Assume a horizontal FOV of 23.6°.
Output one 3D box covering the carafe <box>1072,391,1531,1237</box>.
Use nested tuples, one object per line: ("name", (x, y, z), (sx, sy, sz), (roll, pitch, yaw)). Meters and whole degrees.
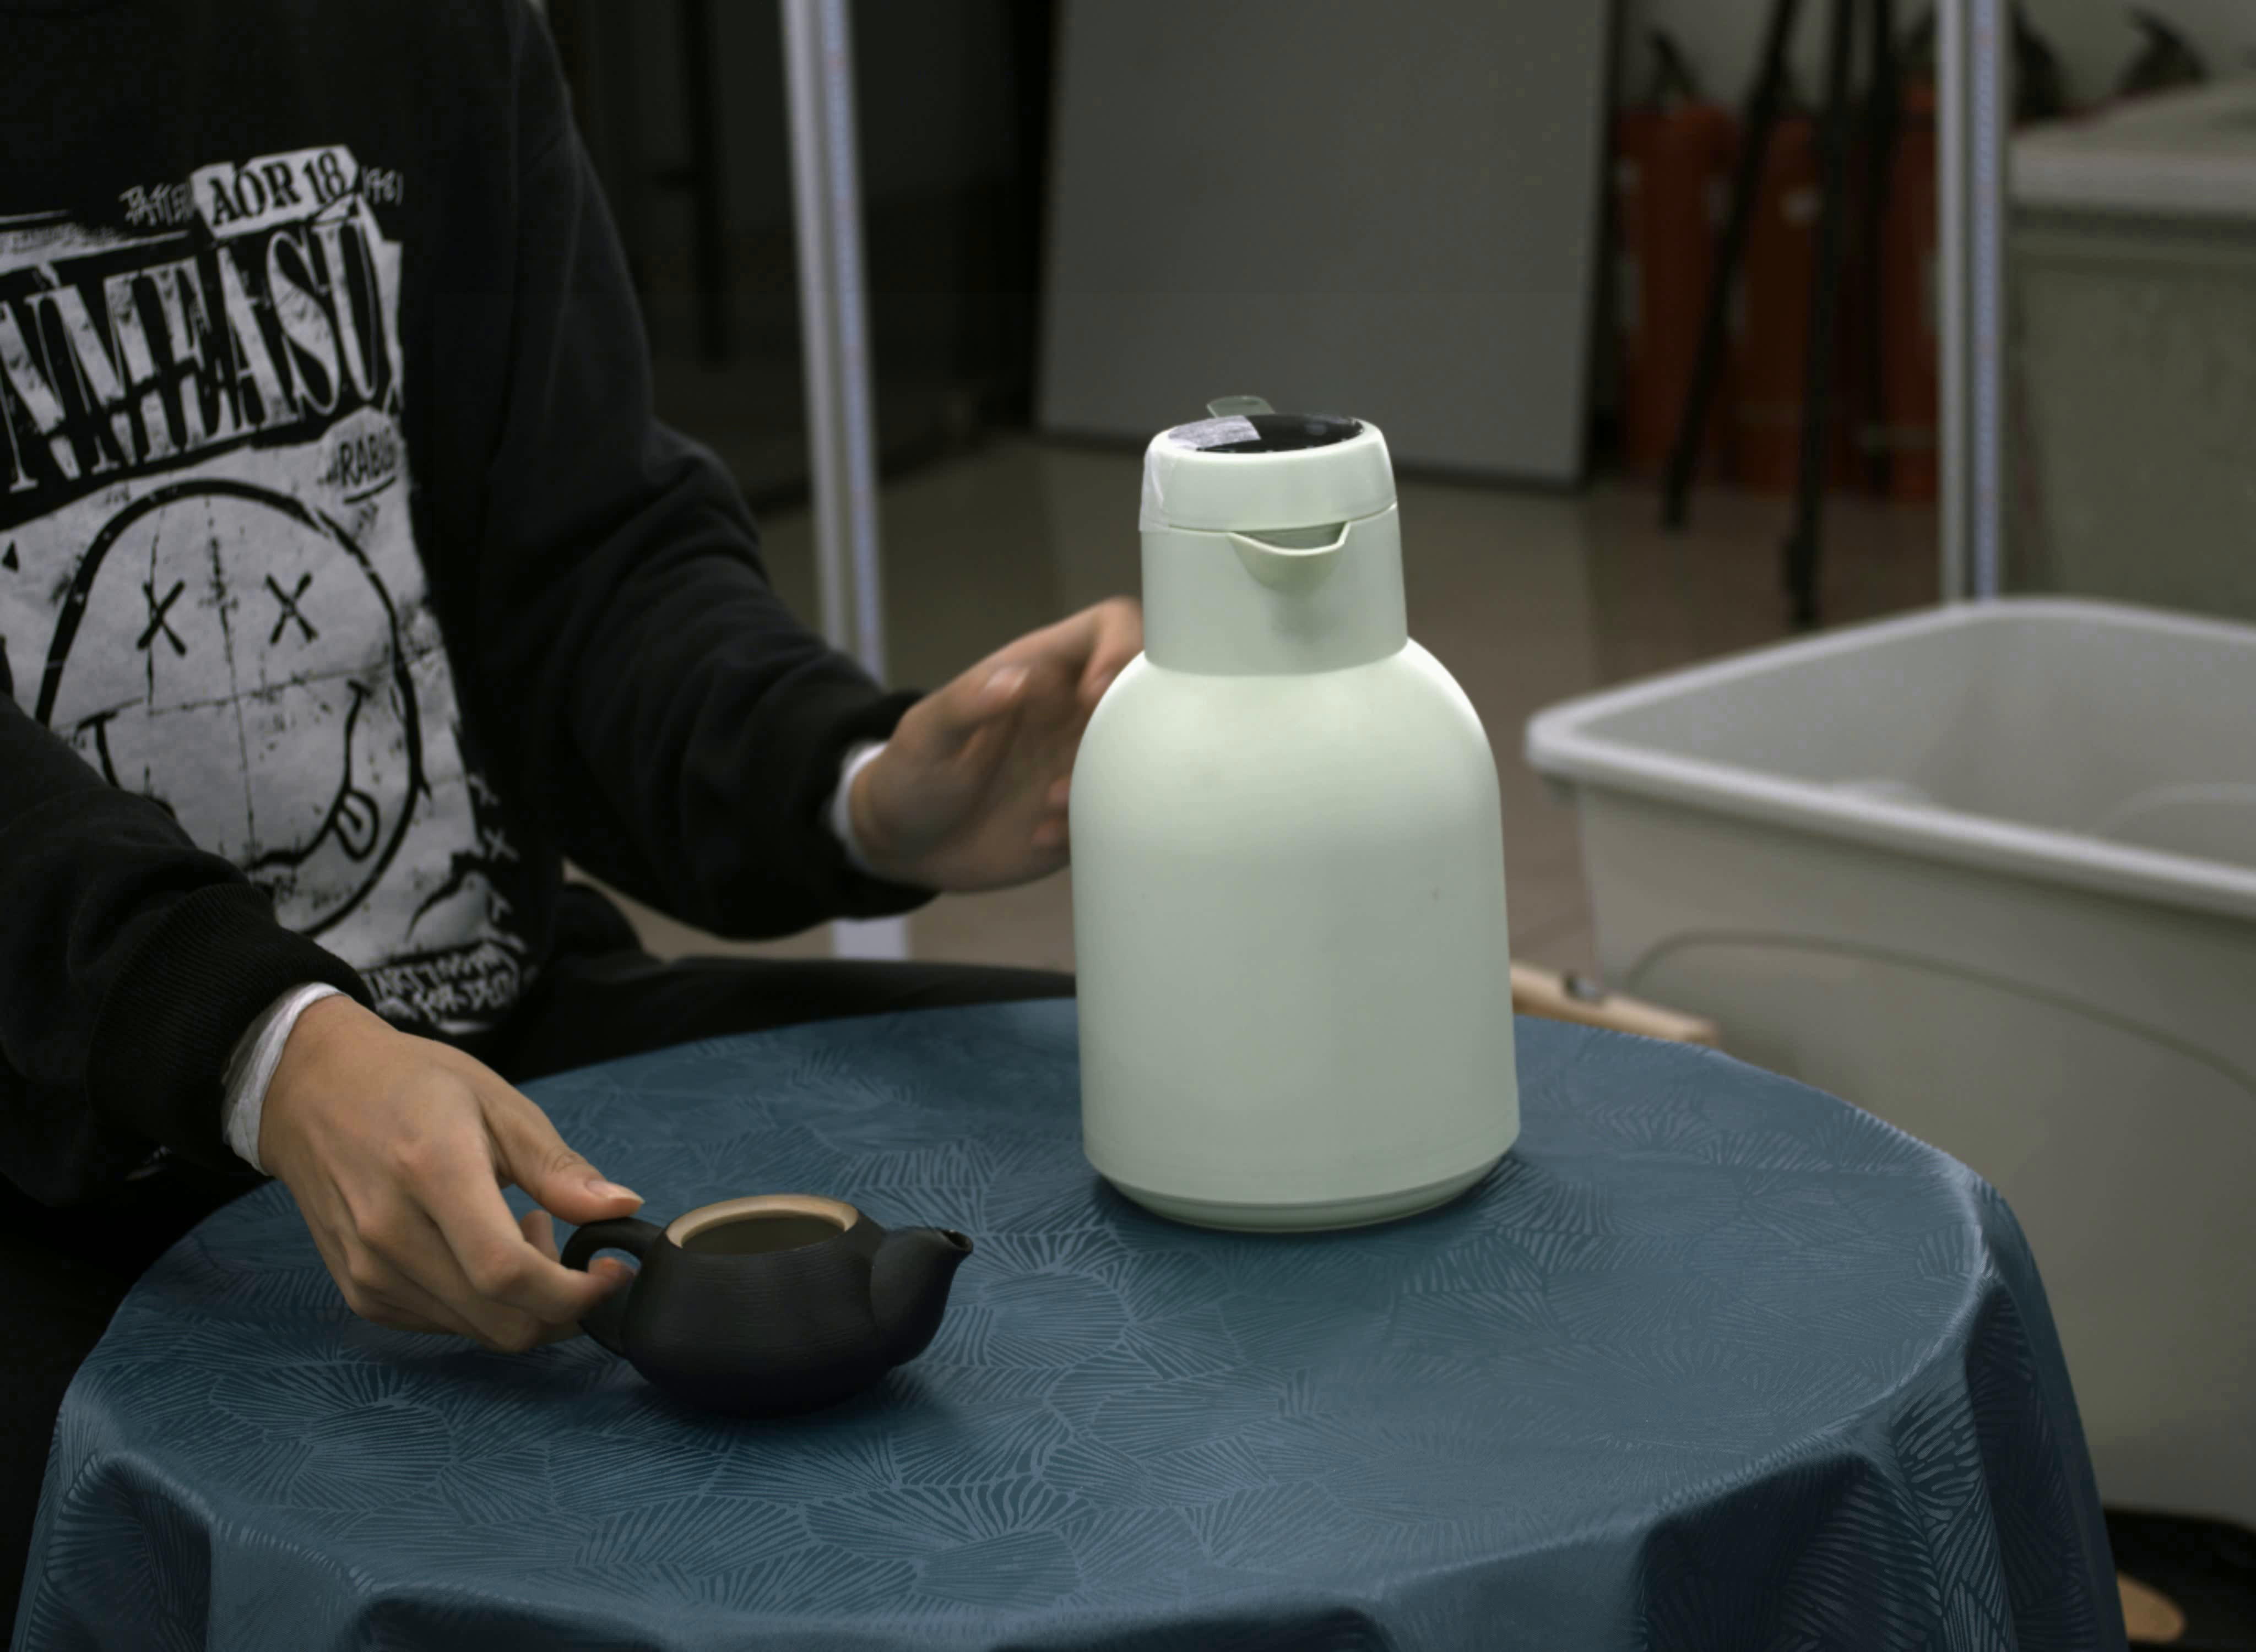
("carafe", (0.049, -0.009, 1.761), (0.142, 0.259, 0.187), (-7, 10, -7))

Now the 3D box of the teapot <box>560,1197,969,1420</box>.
("teapot", (-0.107, 0.143, 1.605), (0.133, 0.053, 0.090), (1, 13, 20))
